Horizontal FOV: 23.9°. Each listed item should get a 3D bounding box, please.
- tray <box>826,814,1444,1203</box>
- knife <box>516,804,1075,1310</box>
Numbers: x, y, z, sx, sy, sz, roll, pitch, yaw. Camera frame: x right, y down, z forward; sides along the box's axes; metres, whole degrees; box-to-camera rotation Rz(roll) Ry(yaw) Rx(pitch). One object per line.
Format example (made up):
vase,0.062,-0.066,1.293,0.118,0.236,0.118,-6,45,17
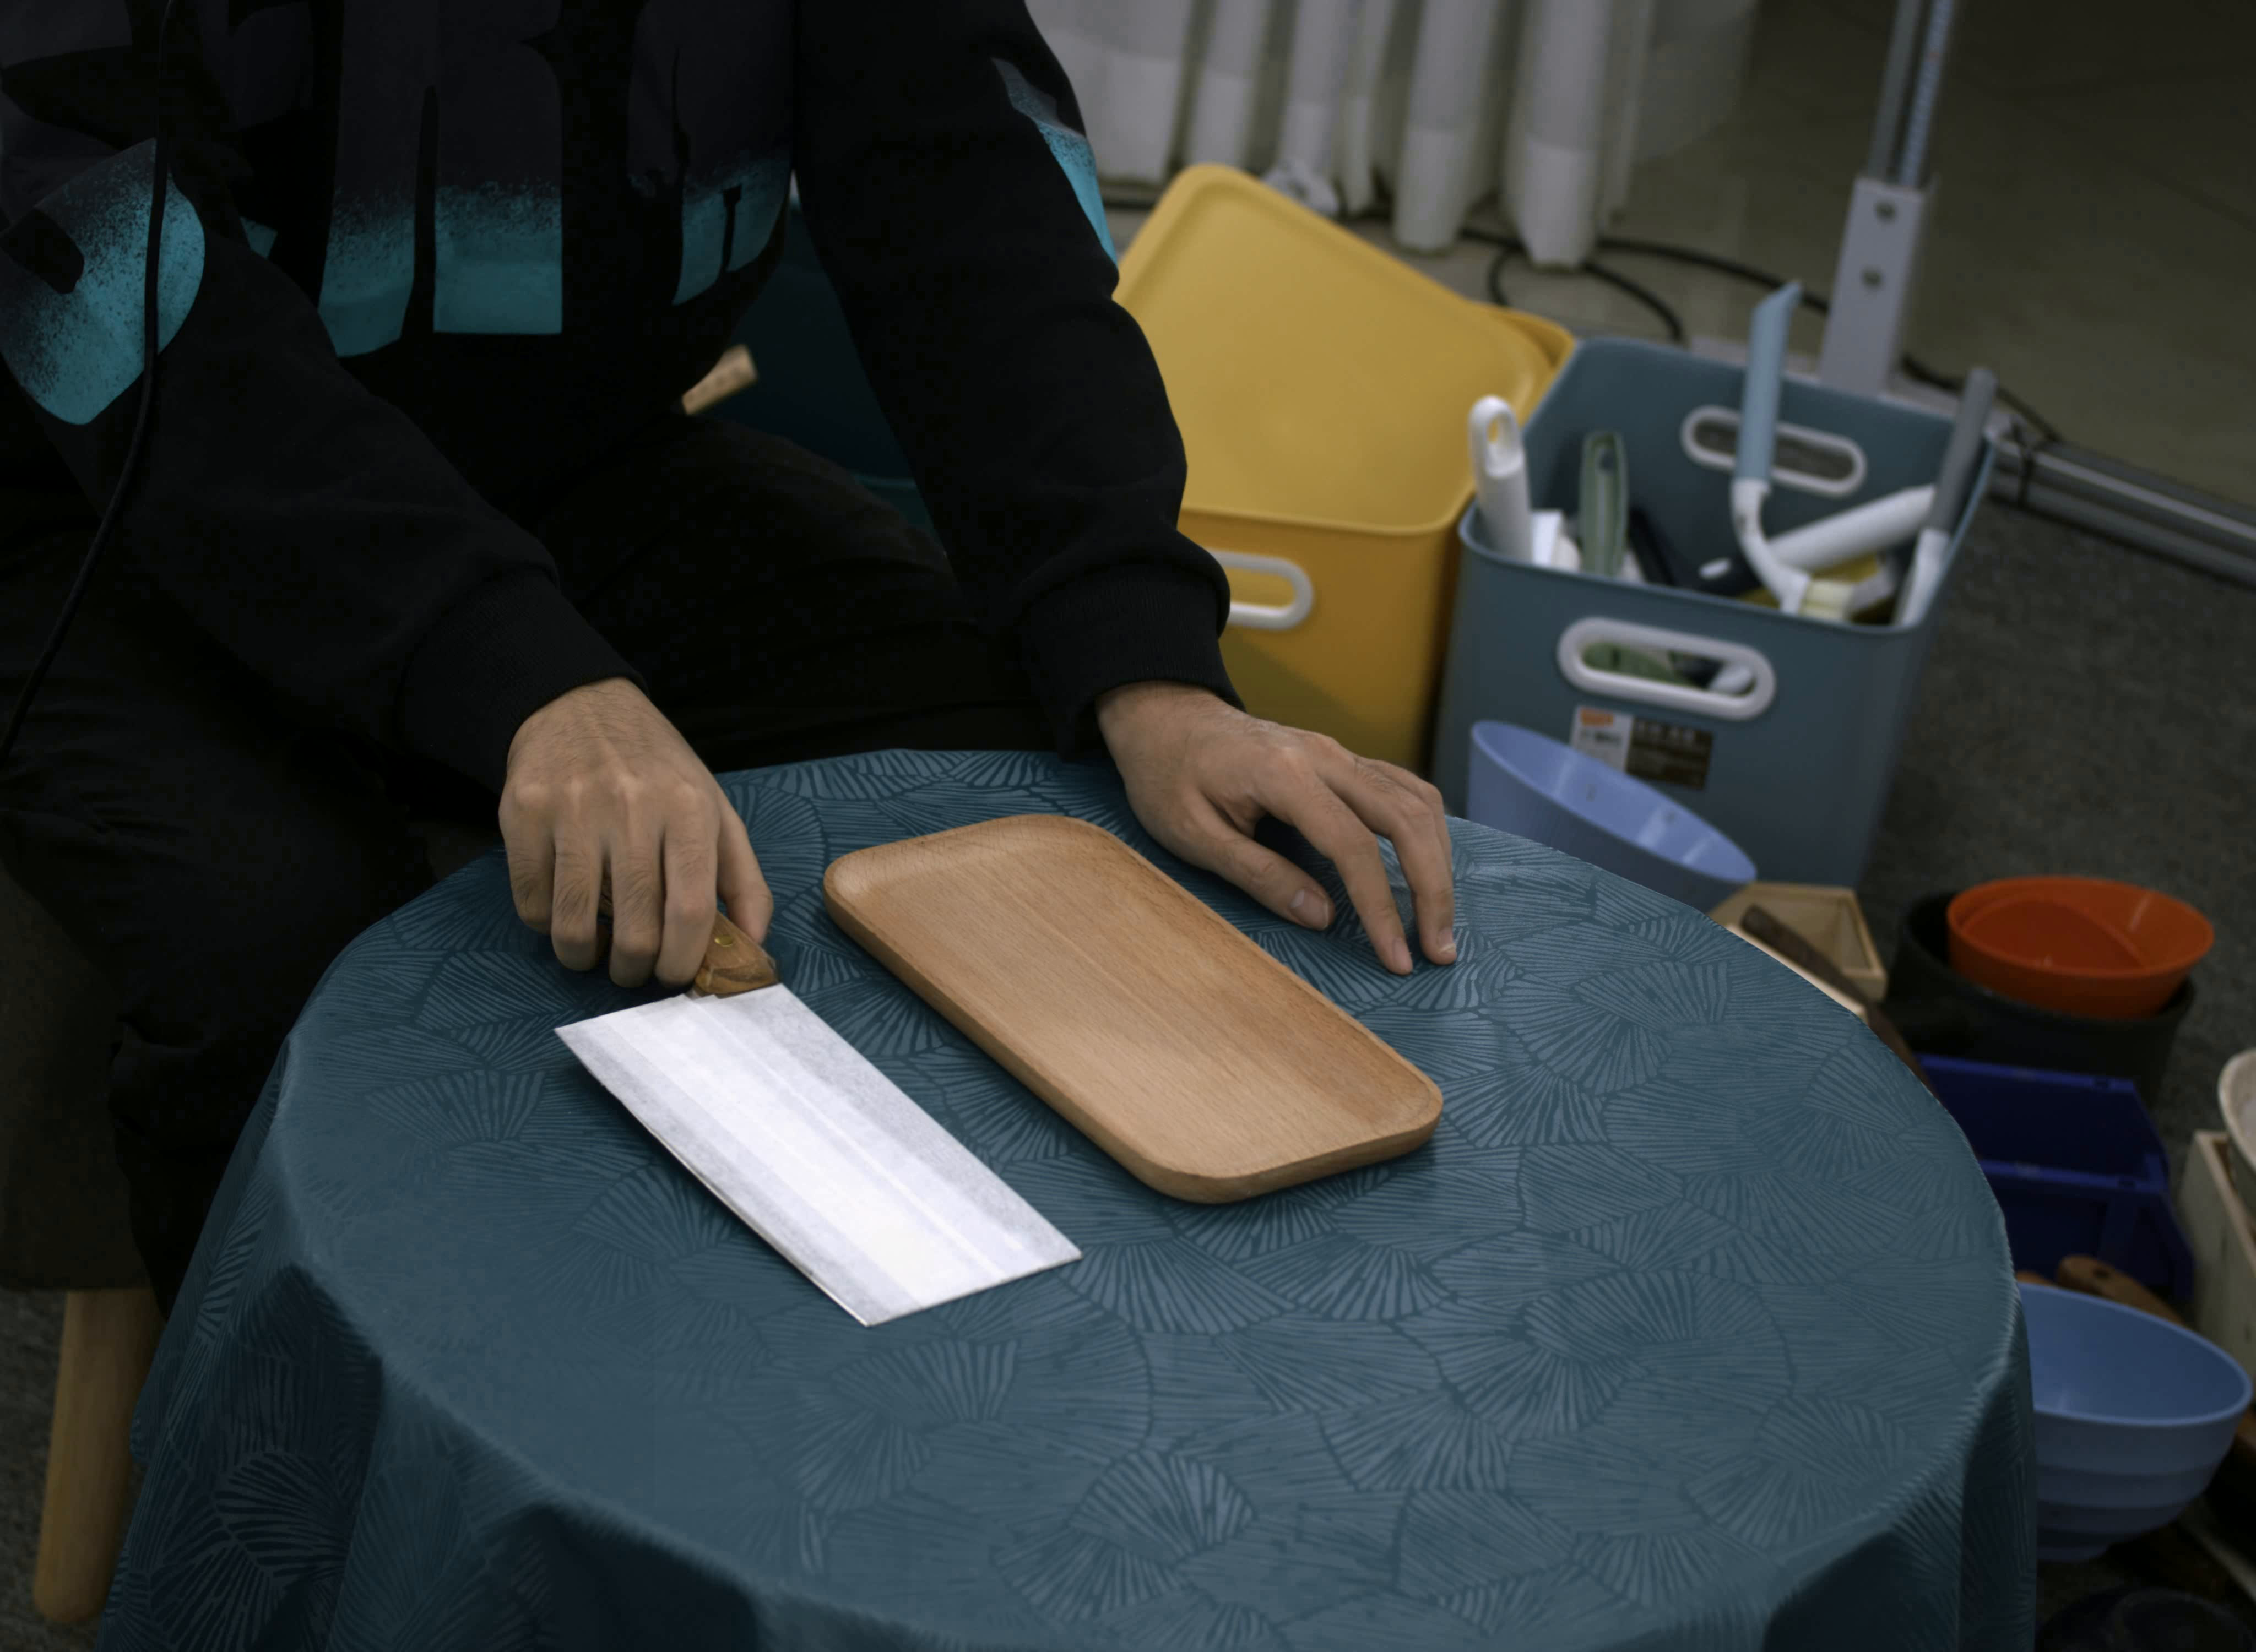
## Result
tray,-0.001,0.063,1.905,0.129,0.023,0.253,-9,30,-32
knife,-0.140,0.078,1.833,0.092,0.021,0.308,-15,38,-35
